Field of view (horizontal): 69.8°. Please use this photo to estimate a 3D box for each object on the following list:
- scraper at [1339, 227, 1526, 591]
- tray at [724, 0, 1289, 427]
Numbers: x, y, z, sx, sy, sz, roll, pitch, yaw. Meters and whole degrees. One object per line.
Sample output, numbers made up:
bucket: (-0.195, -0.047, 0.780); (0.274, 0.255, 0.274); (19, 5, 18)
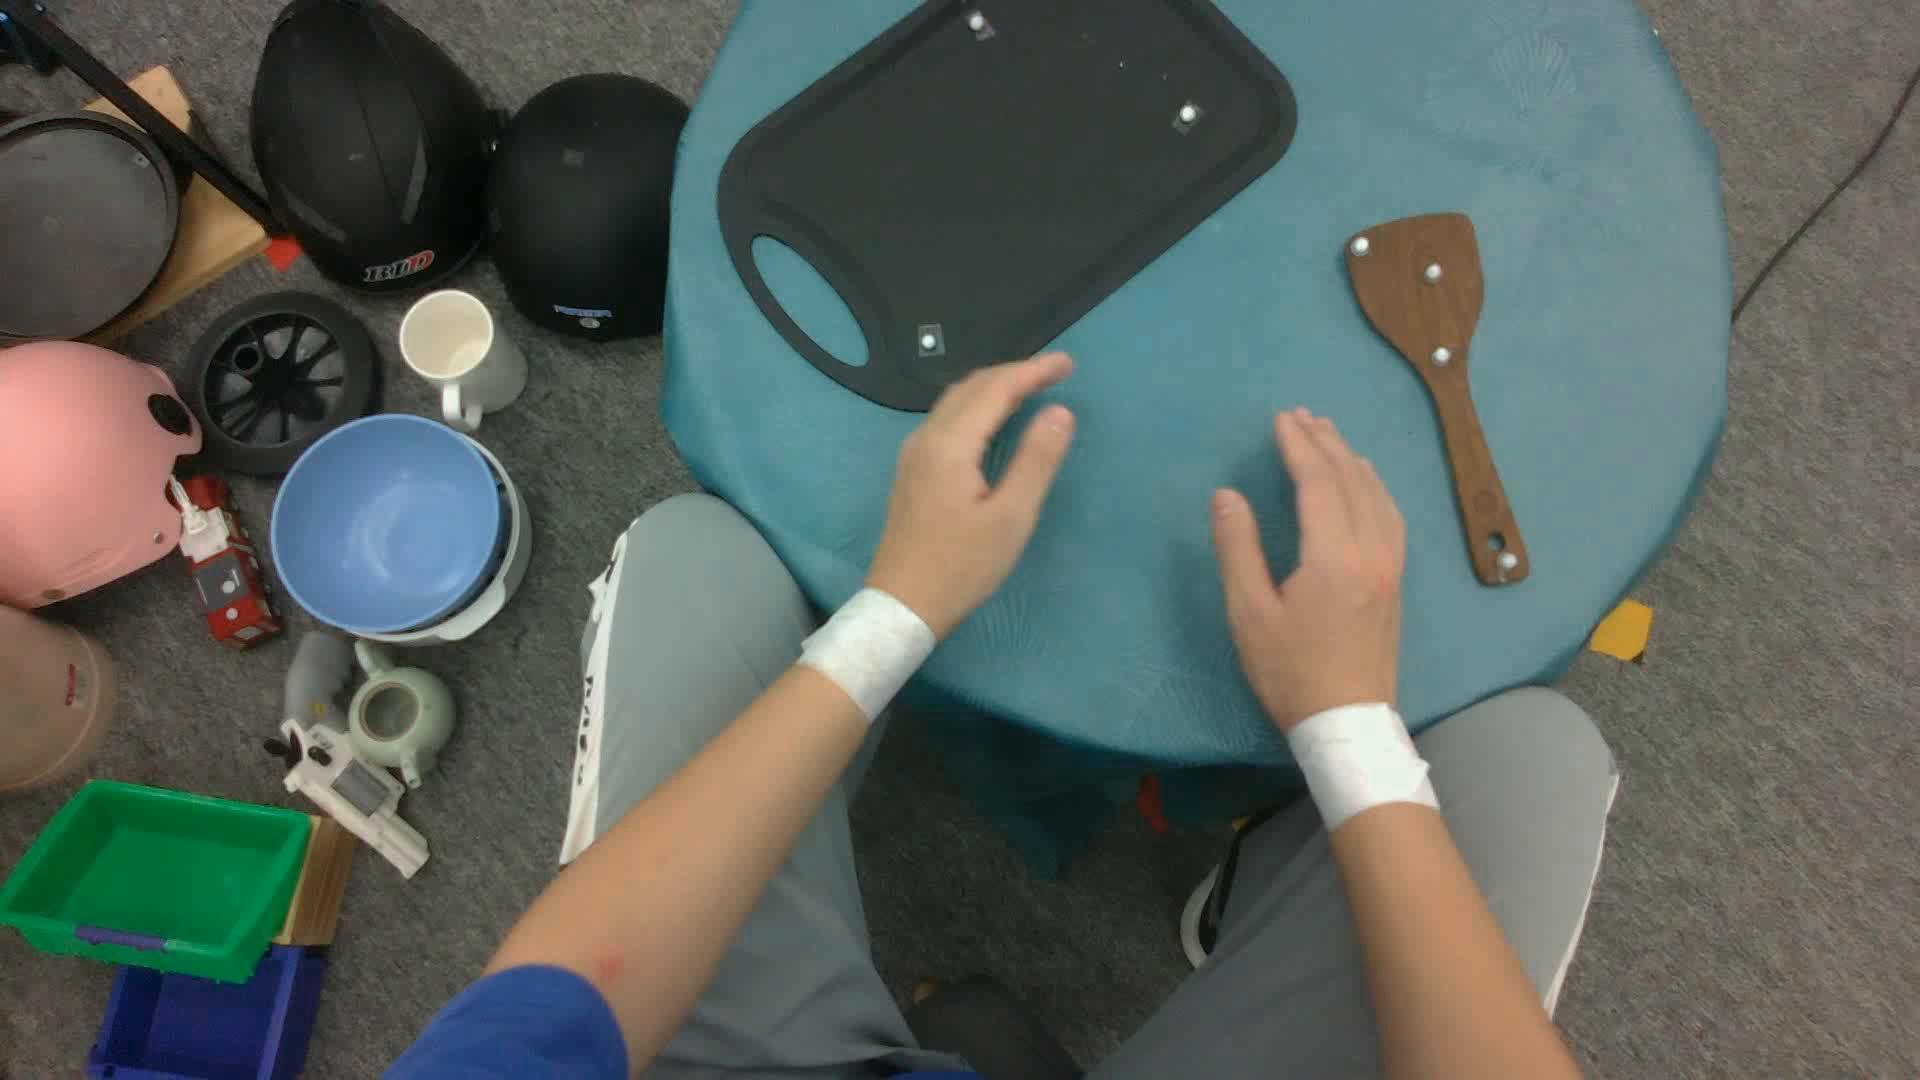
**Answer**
scraper: (0.270, -0.074, 0.761); (0.076, 0.011, 0.211); (-11, 75, -1)
tray: (0.022, -0.212, 0.806); (0.326, 0.010, 0.211); (-39, 77, -9)
